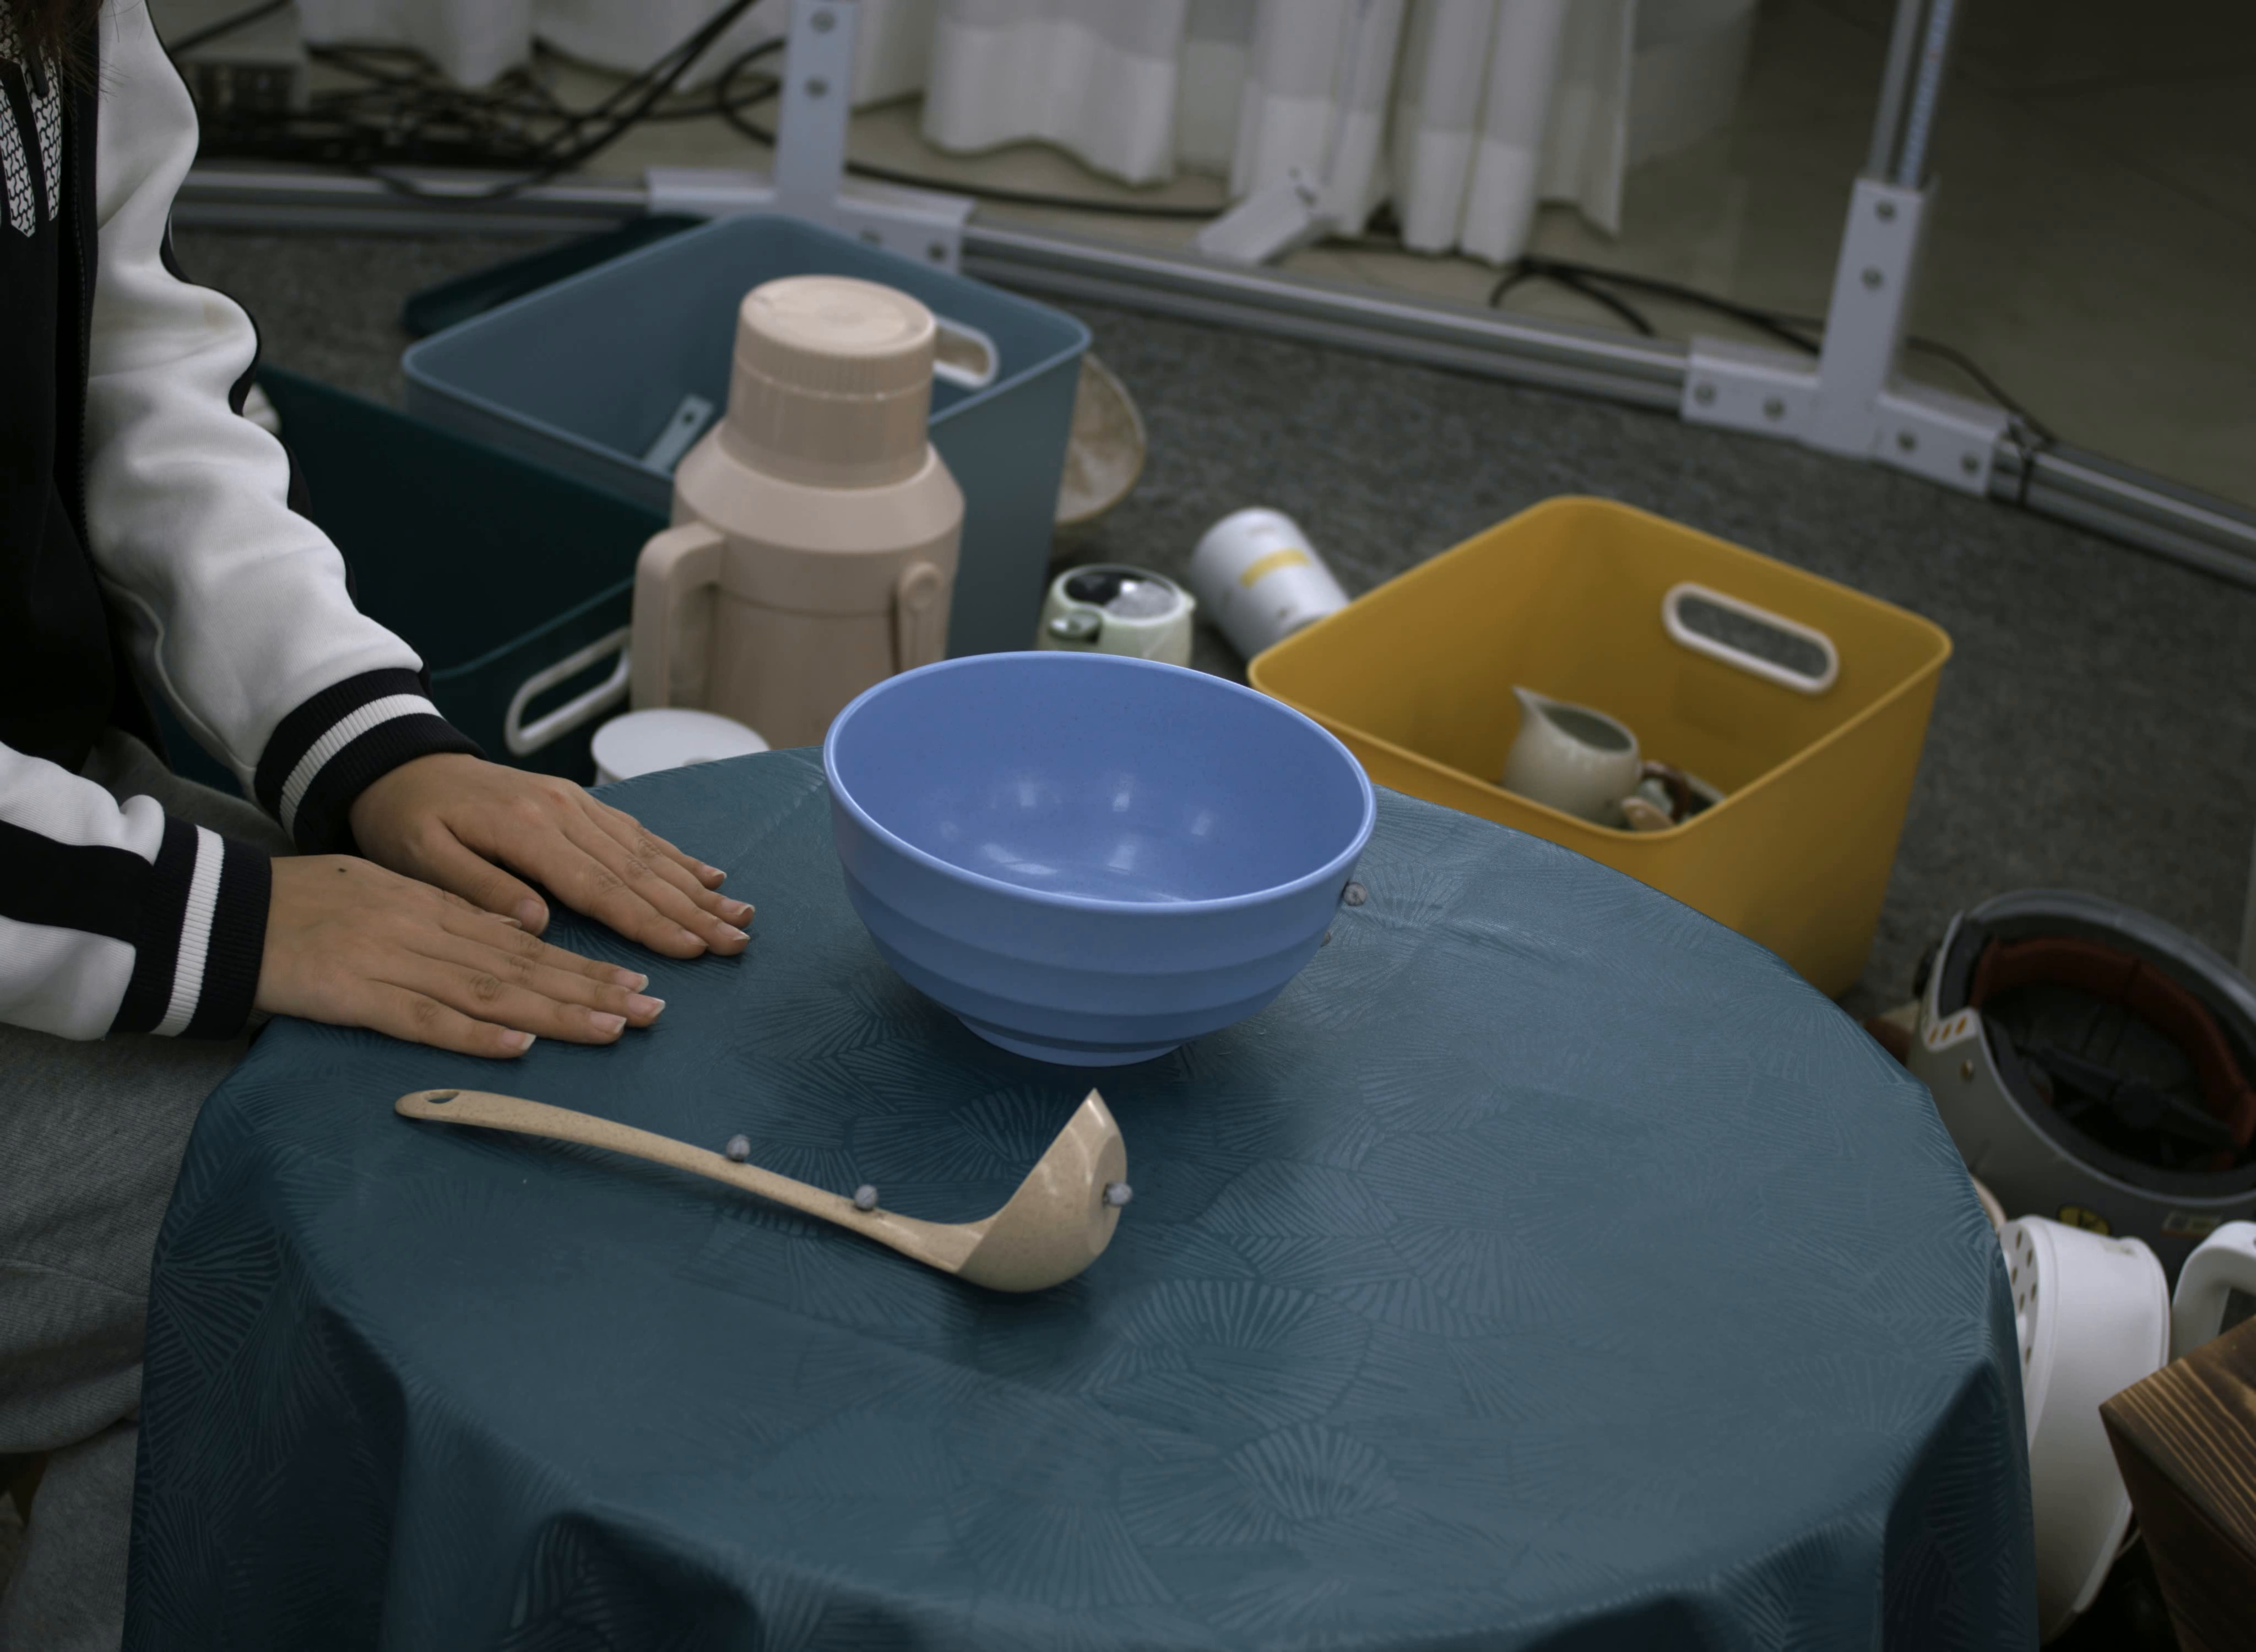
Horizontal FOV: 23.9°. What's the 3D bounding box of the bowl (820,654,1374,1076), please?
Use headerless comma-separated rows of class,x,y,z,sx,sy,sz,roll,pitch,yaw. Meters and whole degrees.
bowl,-0.015,0.026,1.895,0.196,0.095,0.198,4,28,-3

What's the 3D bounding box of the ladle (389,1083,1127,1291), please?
ladle,-0.125,0.094,1.752,0.255,0.072,0.072,13,27,13
